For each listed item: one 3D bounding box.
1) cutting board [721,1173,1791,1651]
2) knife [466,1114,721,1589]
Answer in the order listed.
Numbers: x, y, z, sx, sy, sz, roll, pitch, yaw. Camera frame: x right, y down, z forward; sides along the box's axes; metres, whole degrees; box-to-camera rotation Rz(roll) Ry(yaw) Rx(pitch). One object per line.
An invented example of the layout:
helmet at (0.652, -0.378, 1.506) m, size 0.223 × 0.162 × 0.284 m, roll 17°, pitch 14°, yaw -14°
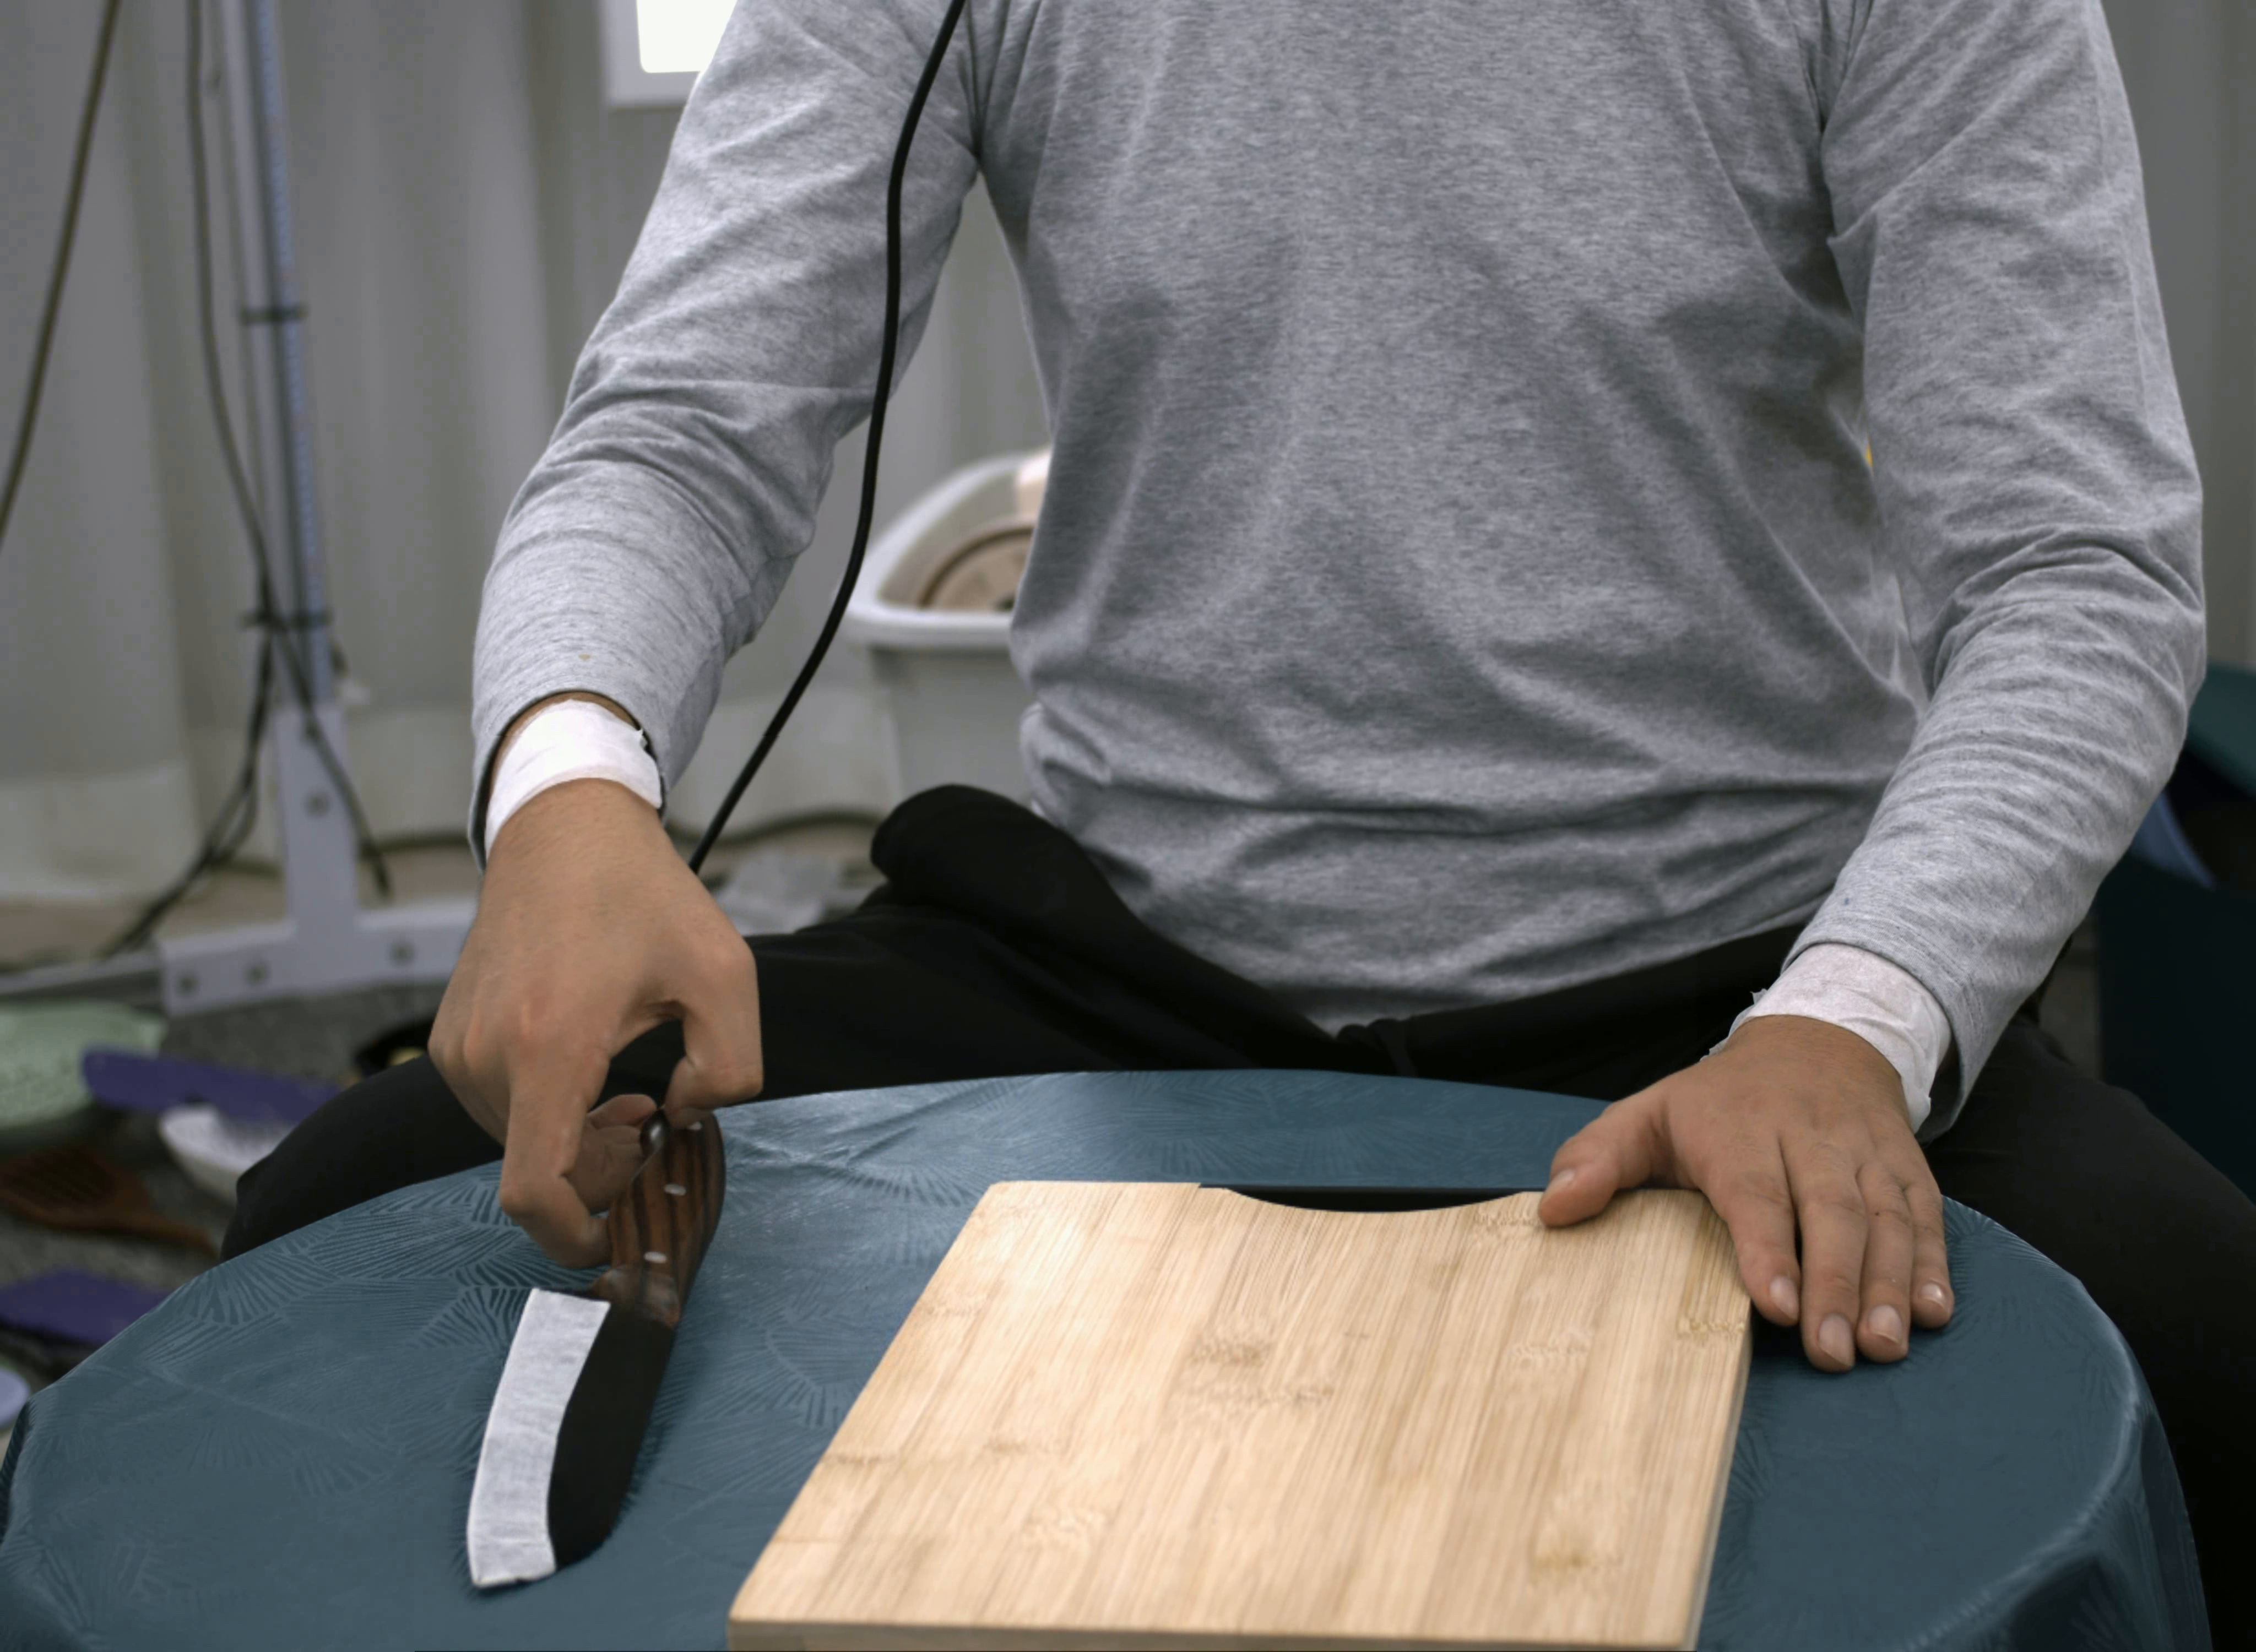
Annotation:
cutting board at (0.048, 0.161, 1.503) m, size 0.250 × 0.023 × 0.350 m, roll 0°, pitch 15°, yaw 10°
knife at (-0.150, 0.147, 1.555) m, size 0.050 × 0.020 × 0.291 m, roll 11°, pitch 22°, yaw 2°
